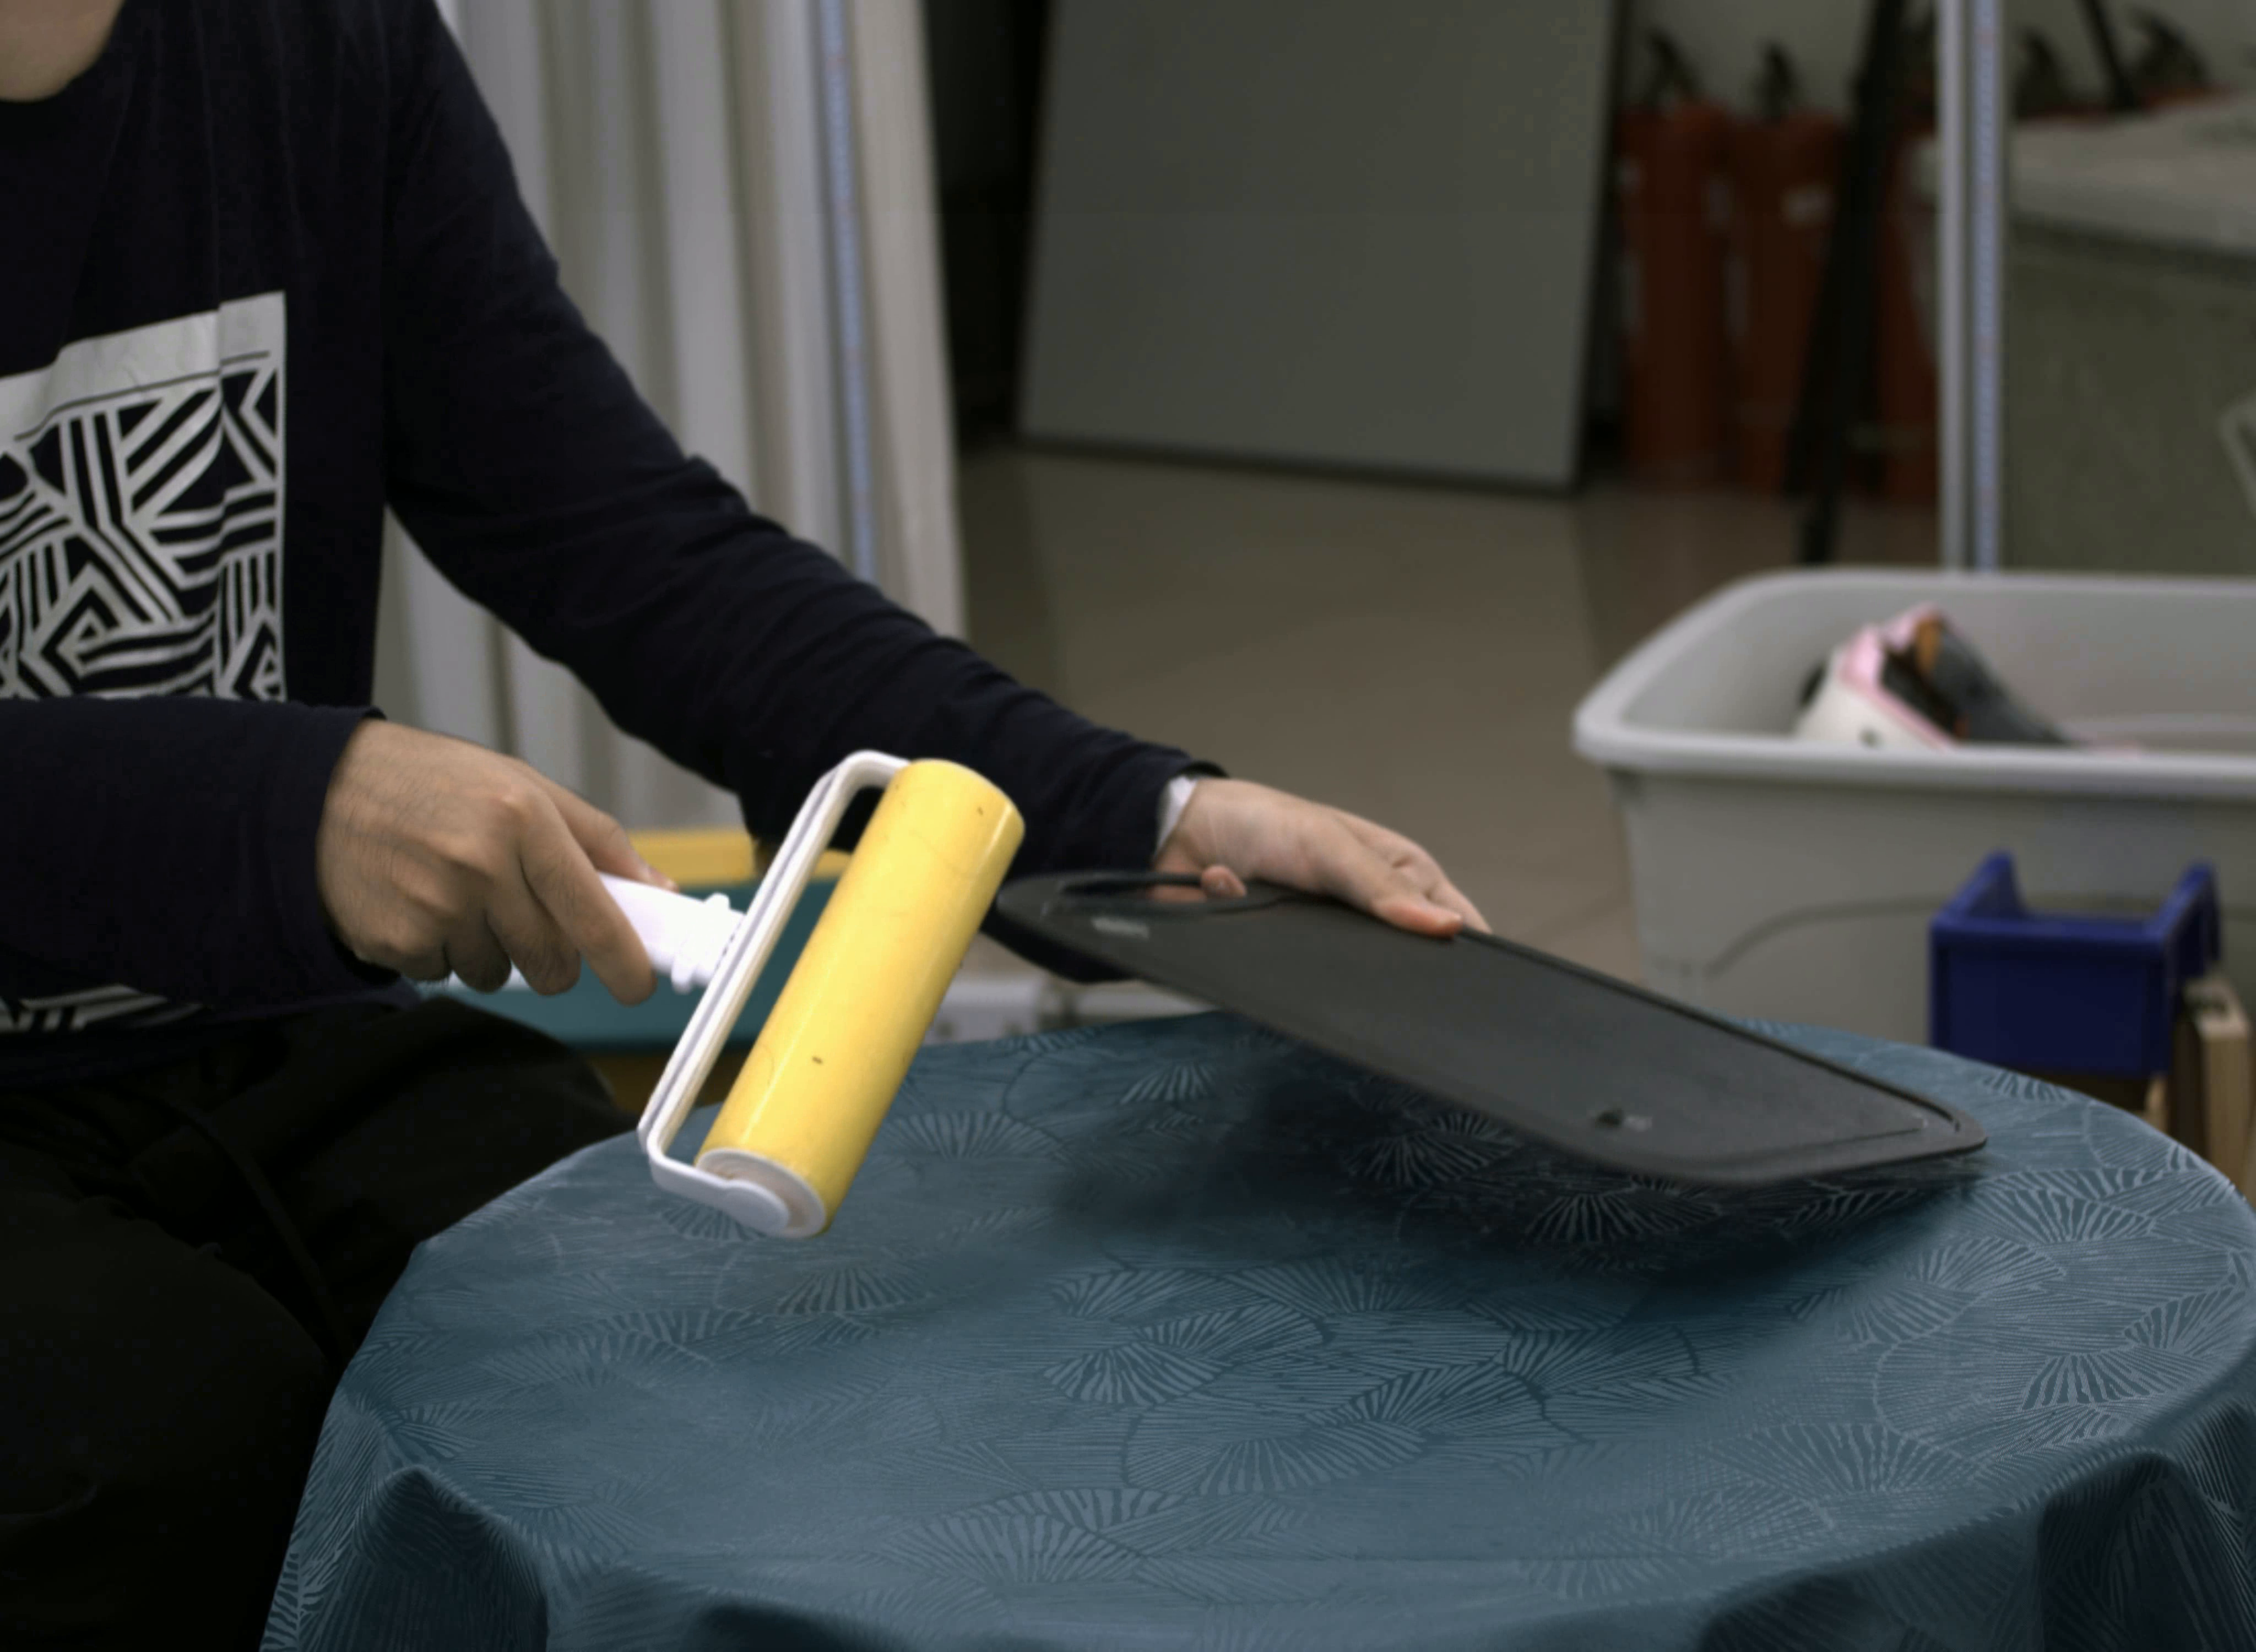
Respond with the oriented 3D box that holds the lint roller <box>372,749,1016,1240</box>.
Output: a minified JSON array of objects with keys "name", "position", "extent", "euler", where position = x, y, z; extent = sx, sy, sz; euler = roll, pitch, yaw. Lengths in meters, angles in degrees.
[{"name":"lint roller","position":[-0.150,0.029,1.718],"extent":[0.191,0.051,0.174],"euler":[20,56,6]}]

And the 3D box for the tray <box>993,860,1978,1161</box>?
[{"name":"tray","position":[0.109,0.056,1.770],"extent":[0.328,0.010,0.206],"euler":[21,12,39]}]
